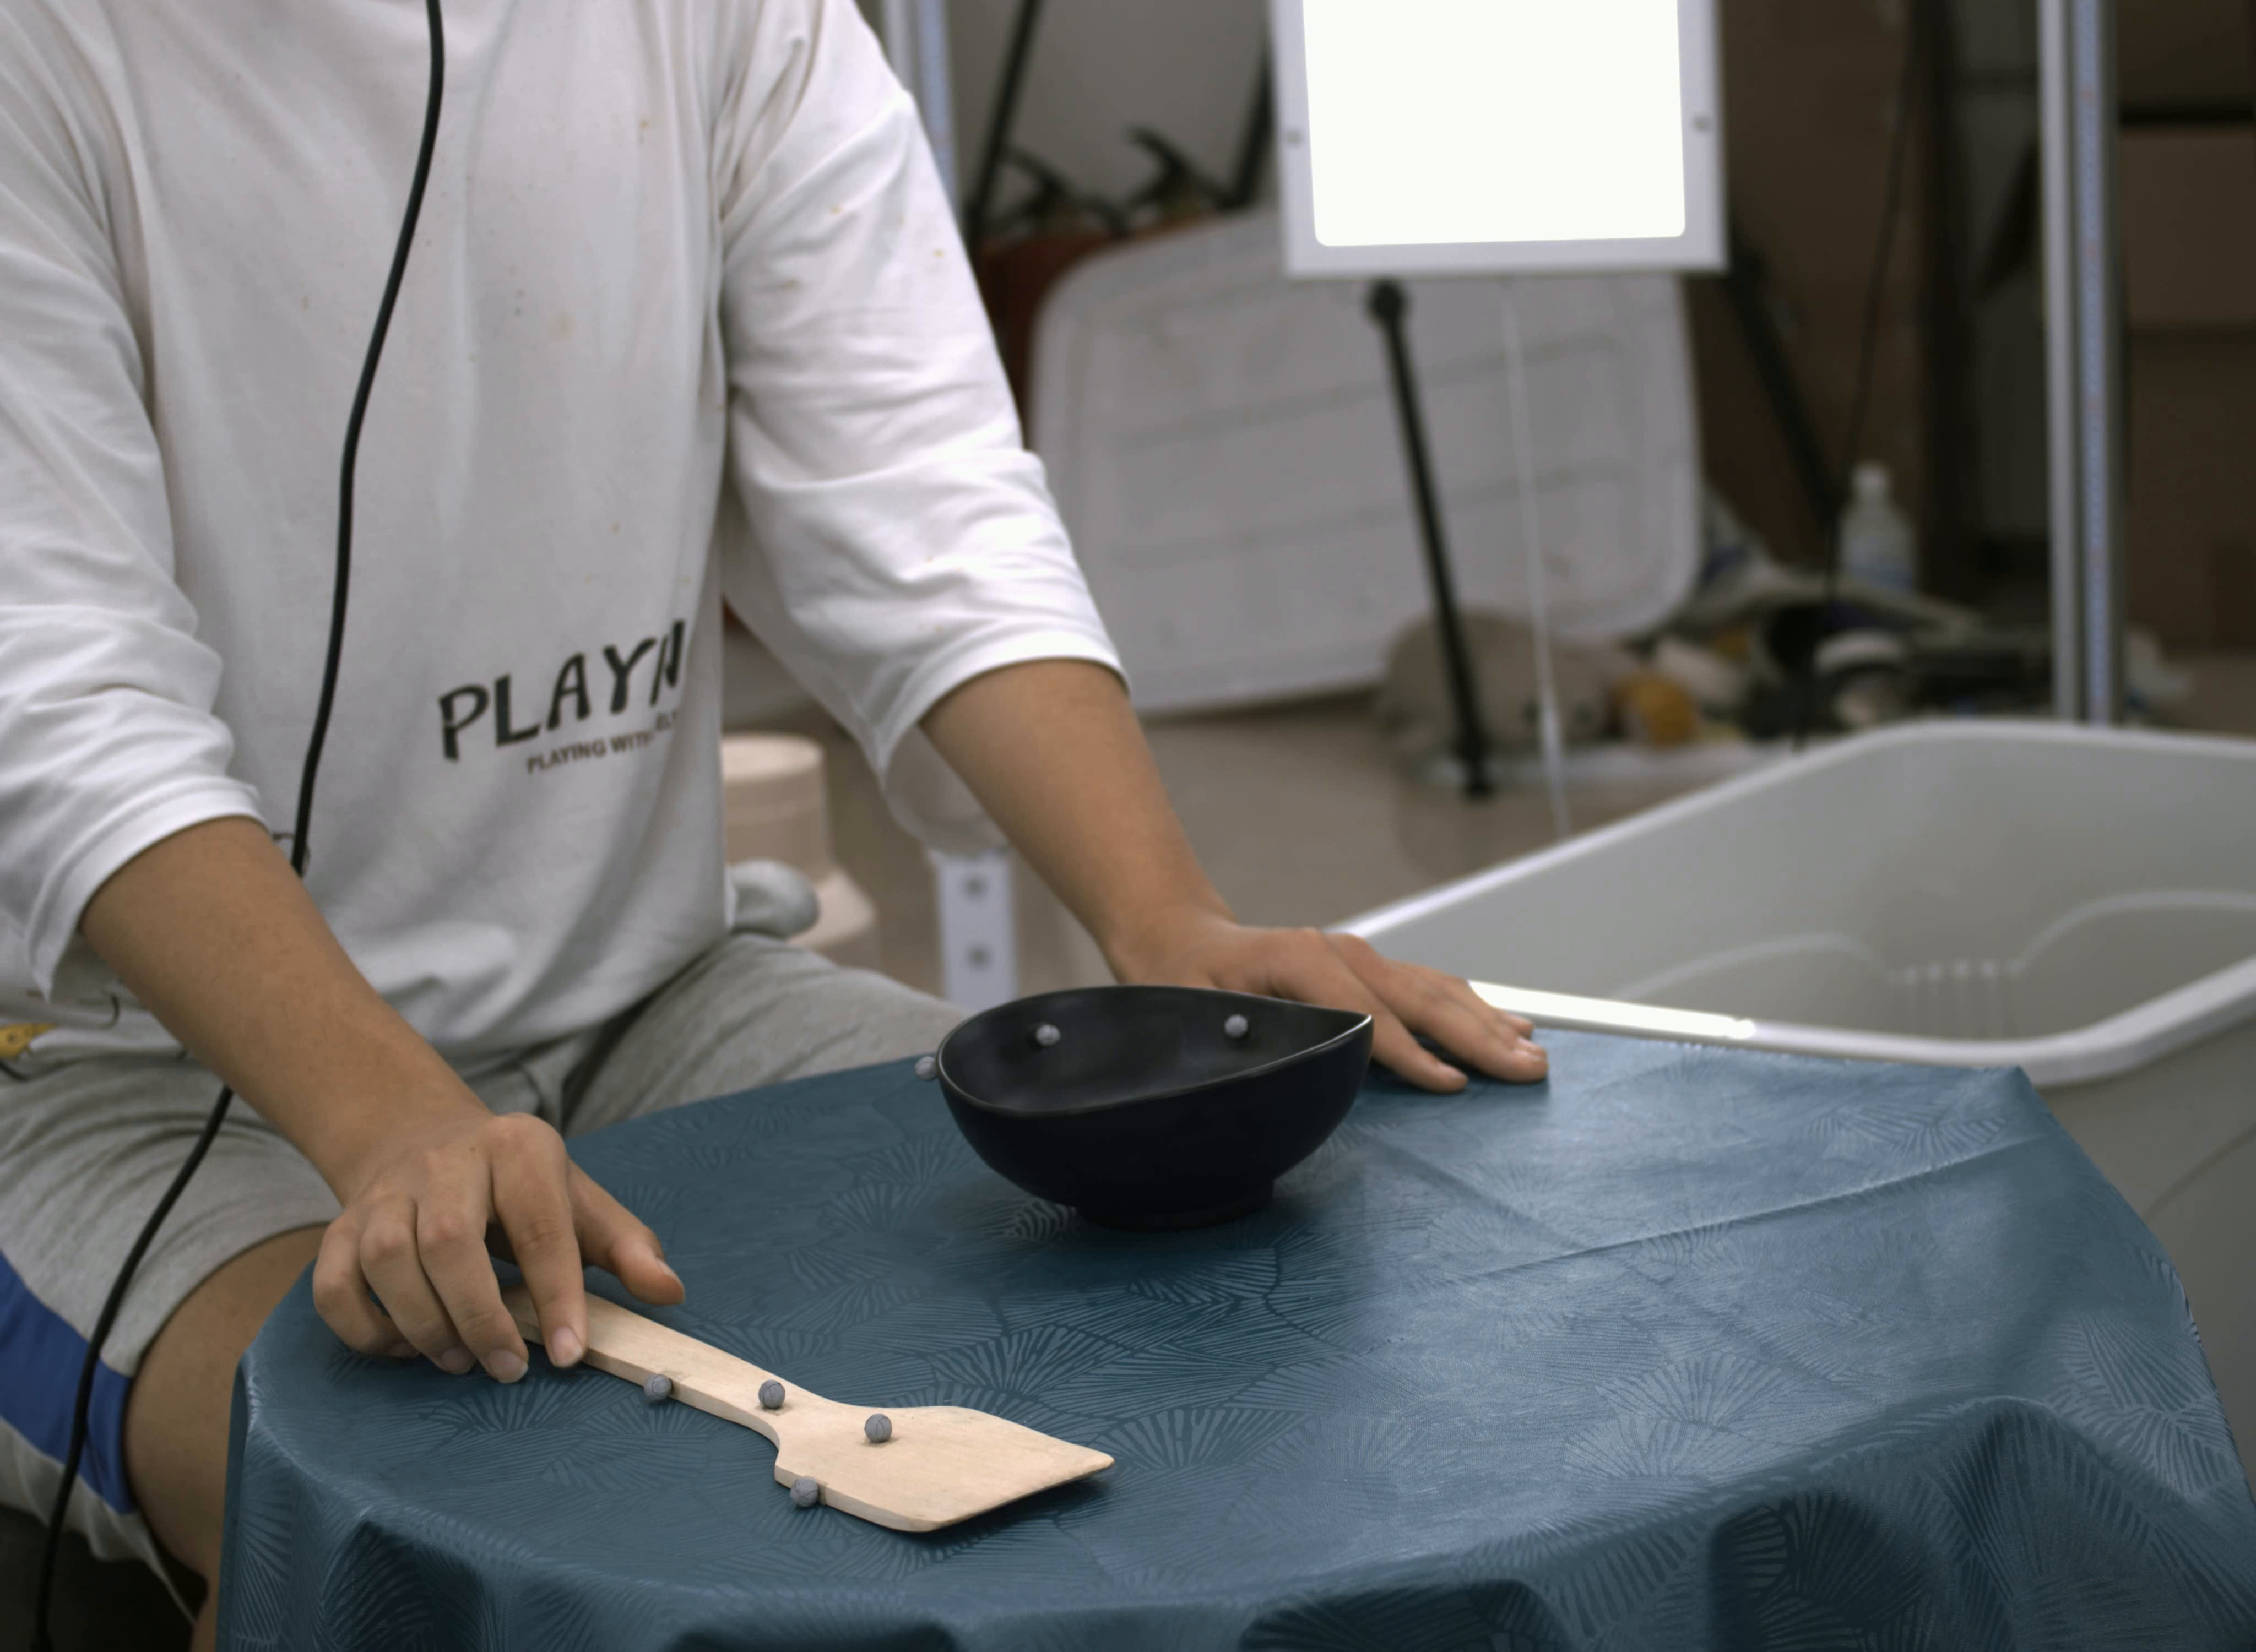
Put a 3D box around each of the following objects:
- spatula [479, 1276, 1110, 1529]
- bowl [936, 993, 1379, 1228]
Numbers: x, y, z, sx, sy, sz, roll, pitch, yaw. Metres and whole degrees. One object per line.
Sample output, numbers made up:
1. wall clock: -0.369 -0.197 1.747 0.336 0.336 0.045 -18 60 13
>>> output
1. spatula: -0.119 0.176 1.717 0.070 0.011 0.299 -16 17 -34
2. bowl: 0.013 0.098 1.878 0.140 0.067 0.166 6 15 40
